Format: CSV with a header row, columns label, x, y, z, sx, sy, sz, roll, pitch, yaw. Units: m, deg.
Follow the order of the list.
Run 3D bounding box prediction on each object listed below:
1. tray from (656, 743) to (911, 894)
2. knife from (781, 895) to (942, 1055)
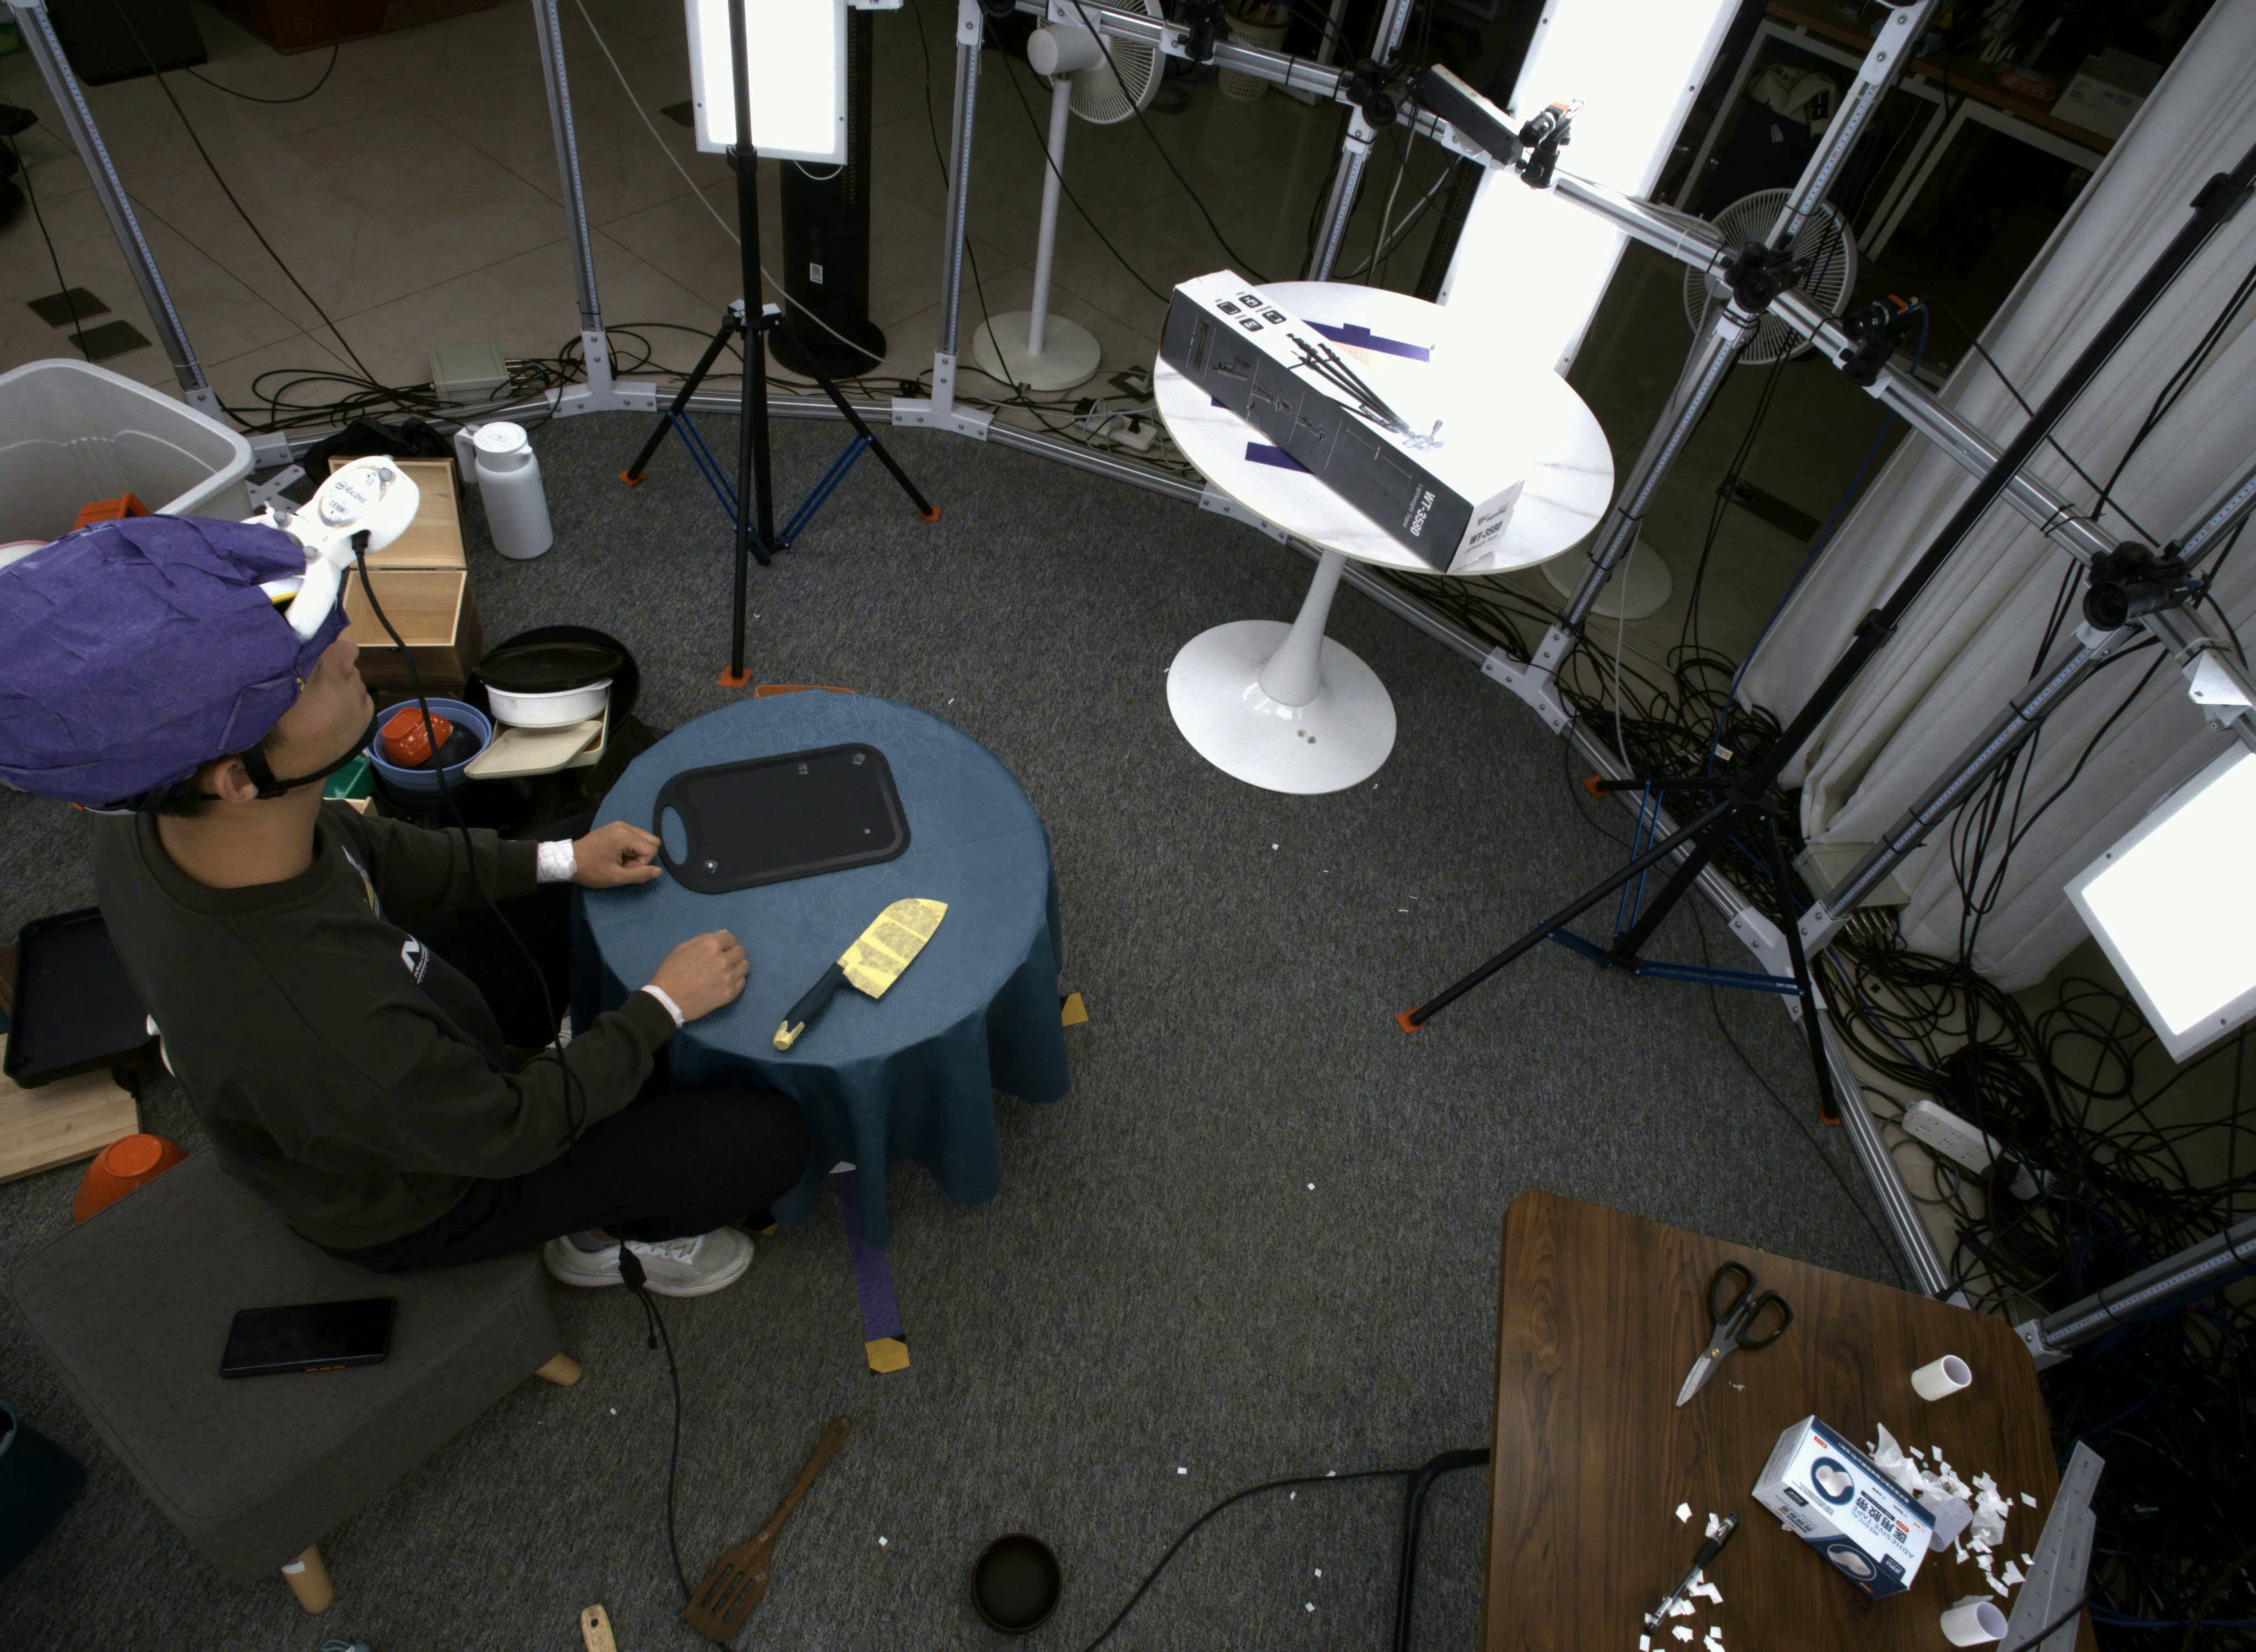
label,x,y,z,sx,sy,sz,roll,pitch,yaw
tray,-0.464,-0.015,1.731,0.327,0.010,0.206,-11,58,-21
knife,-0.326,0.179,1.618,0.079,0.028,0.289,30,52,12
